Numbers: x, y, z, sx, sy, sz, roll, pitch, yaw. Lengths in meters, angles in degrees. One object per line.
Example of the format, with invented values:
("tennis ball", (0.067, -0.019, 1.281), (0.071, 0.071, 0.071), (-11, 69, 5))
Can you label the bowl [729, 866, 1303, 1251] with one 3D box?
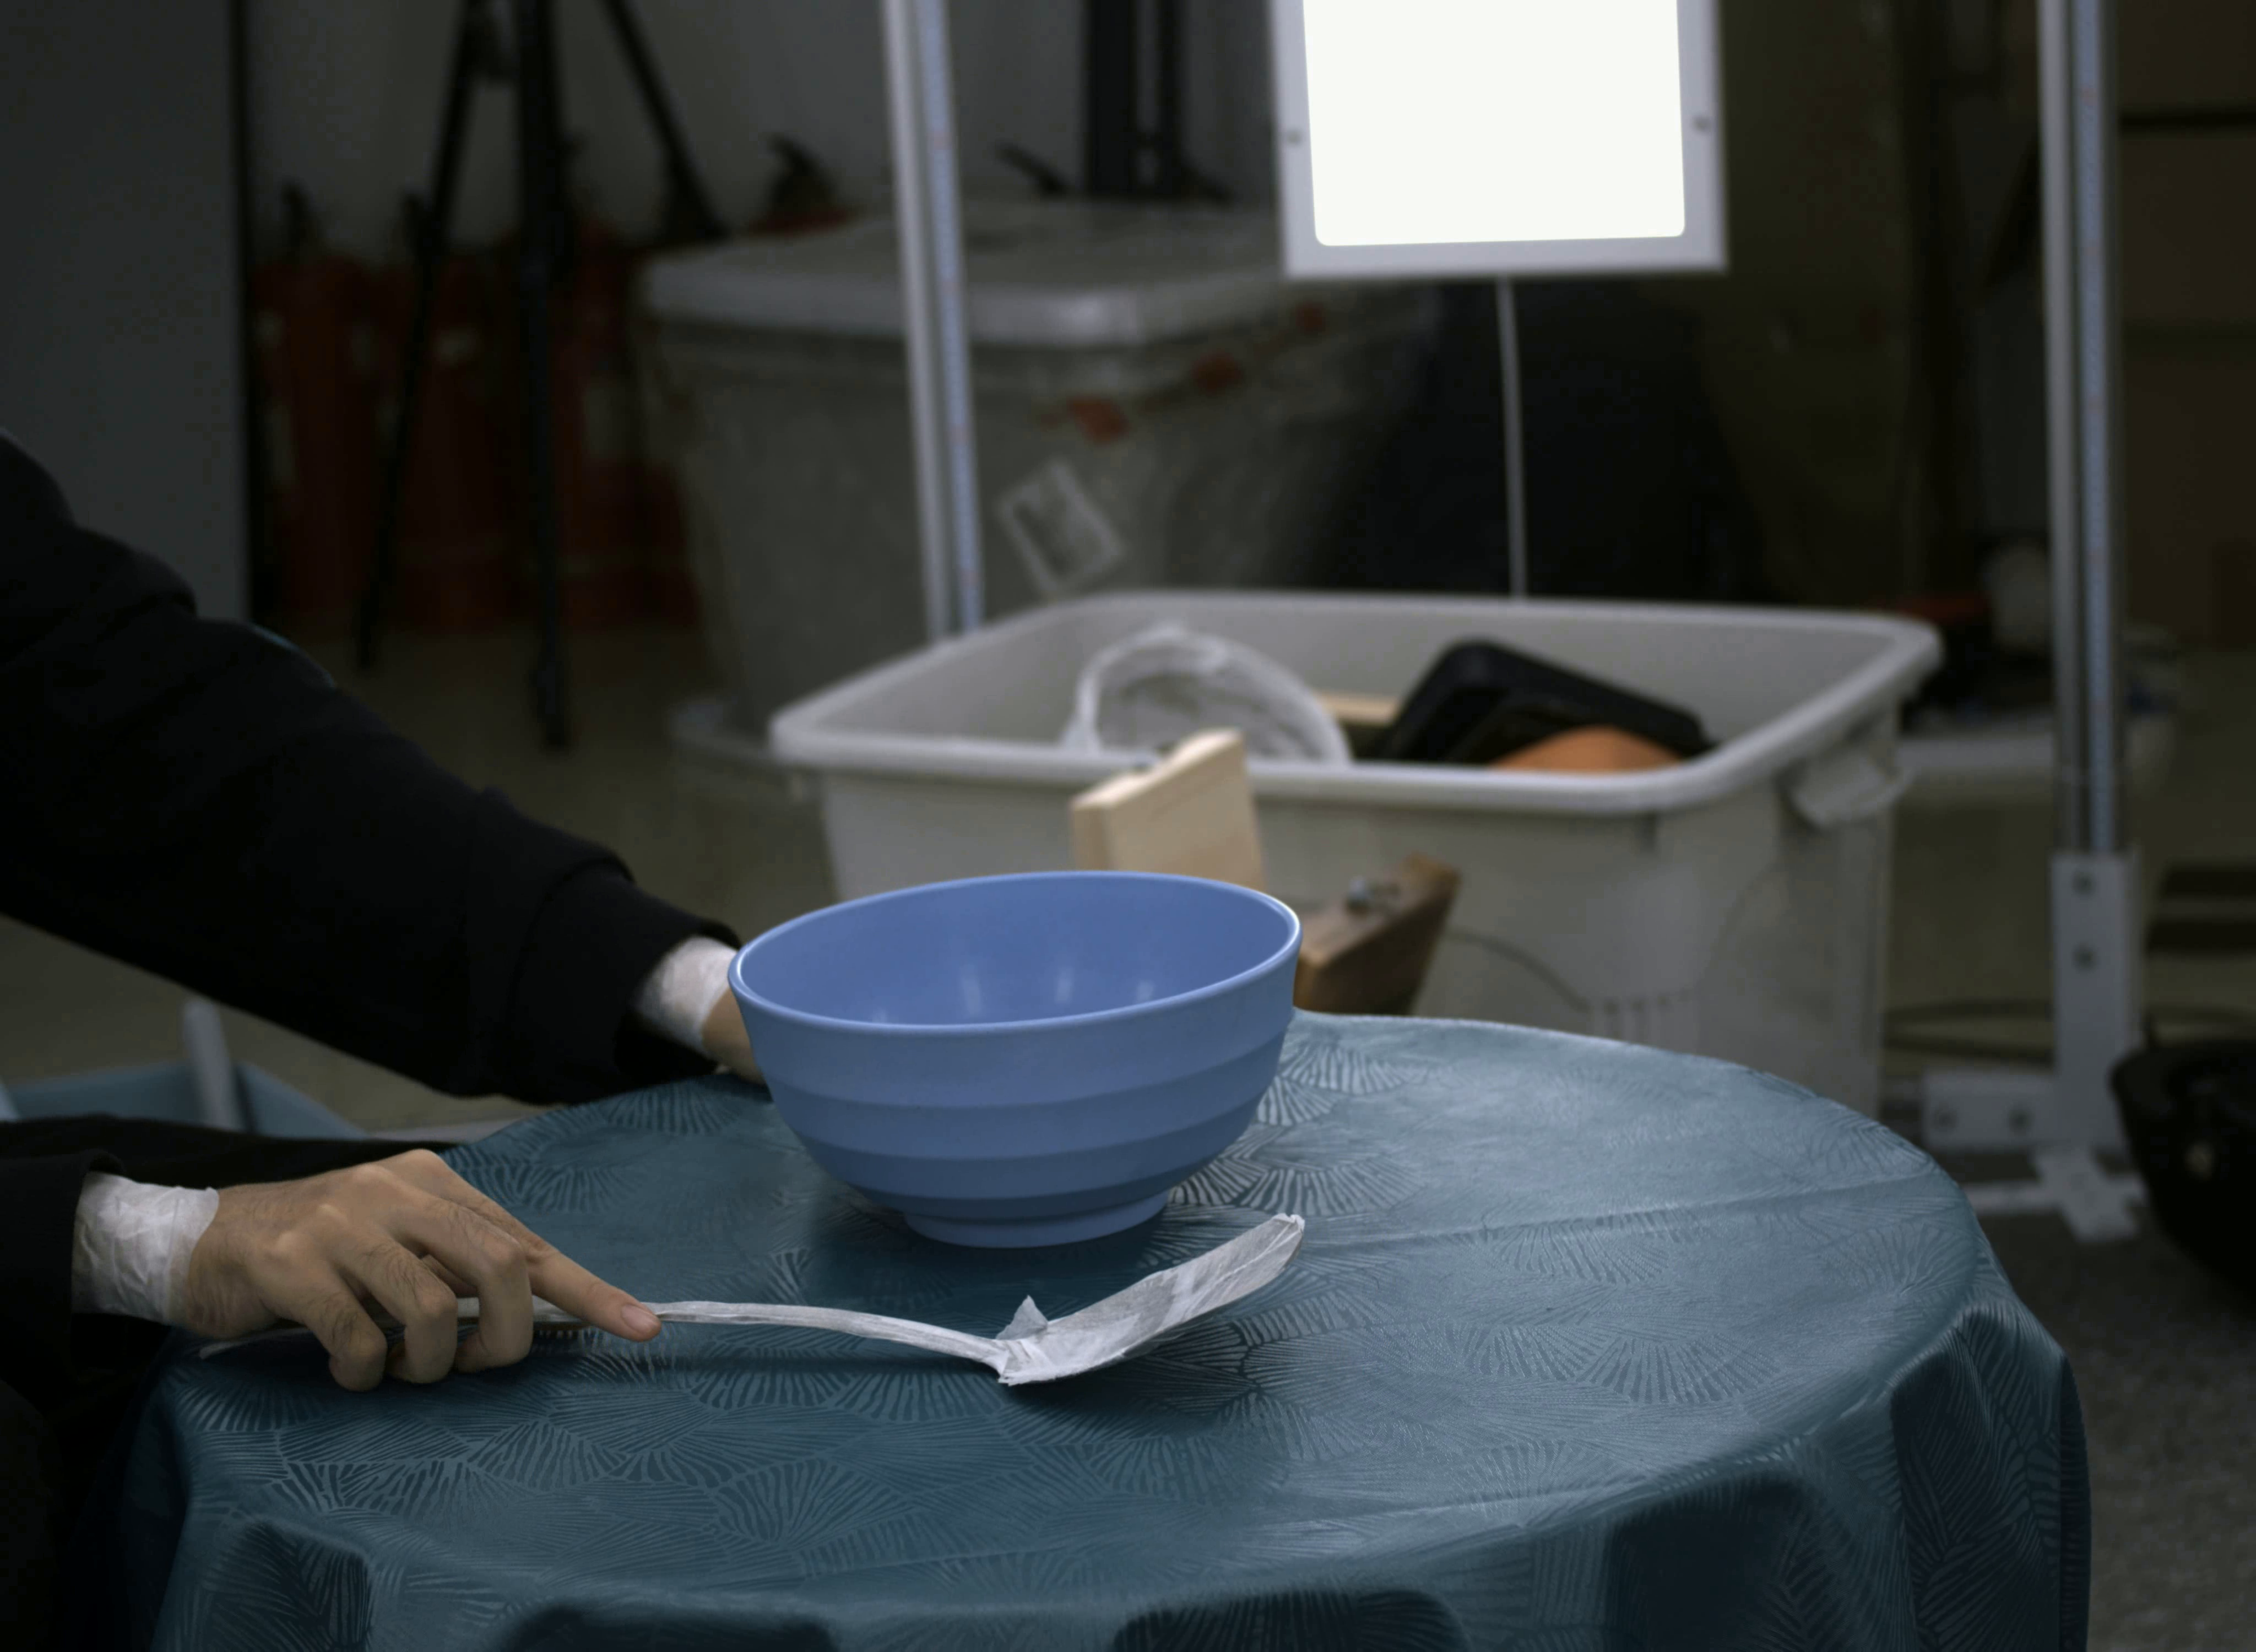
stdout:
("bowl", (-0.035, 0.085, 1.881), (0.196, 0.096, 0.196), (-5, 15, 0))

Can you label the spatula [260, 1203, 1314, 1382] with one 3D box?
("spatula", (-0.119, 0.151, 1.761), (0.369, 0.045, 0.097), (0, 16, 19))
